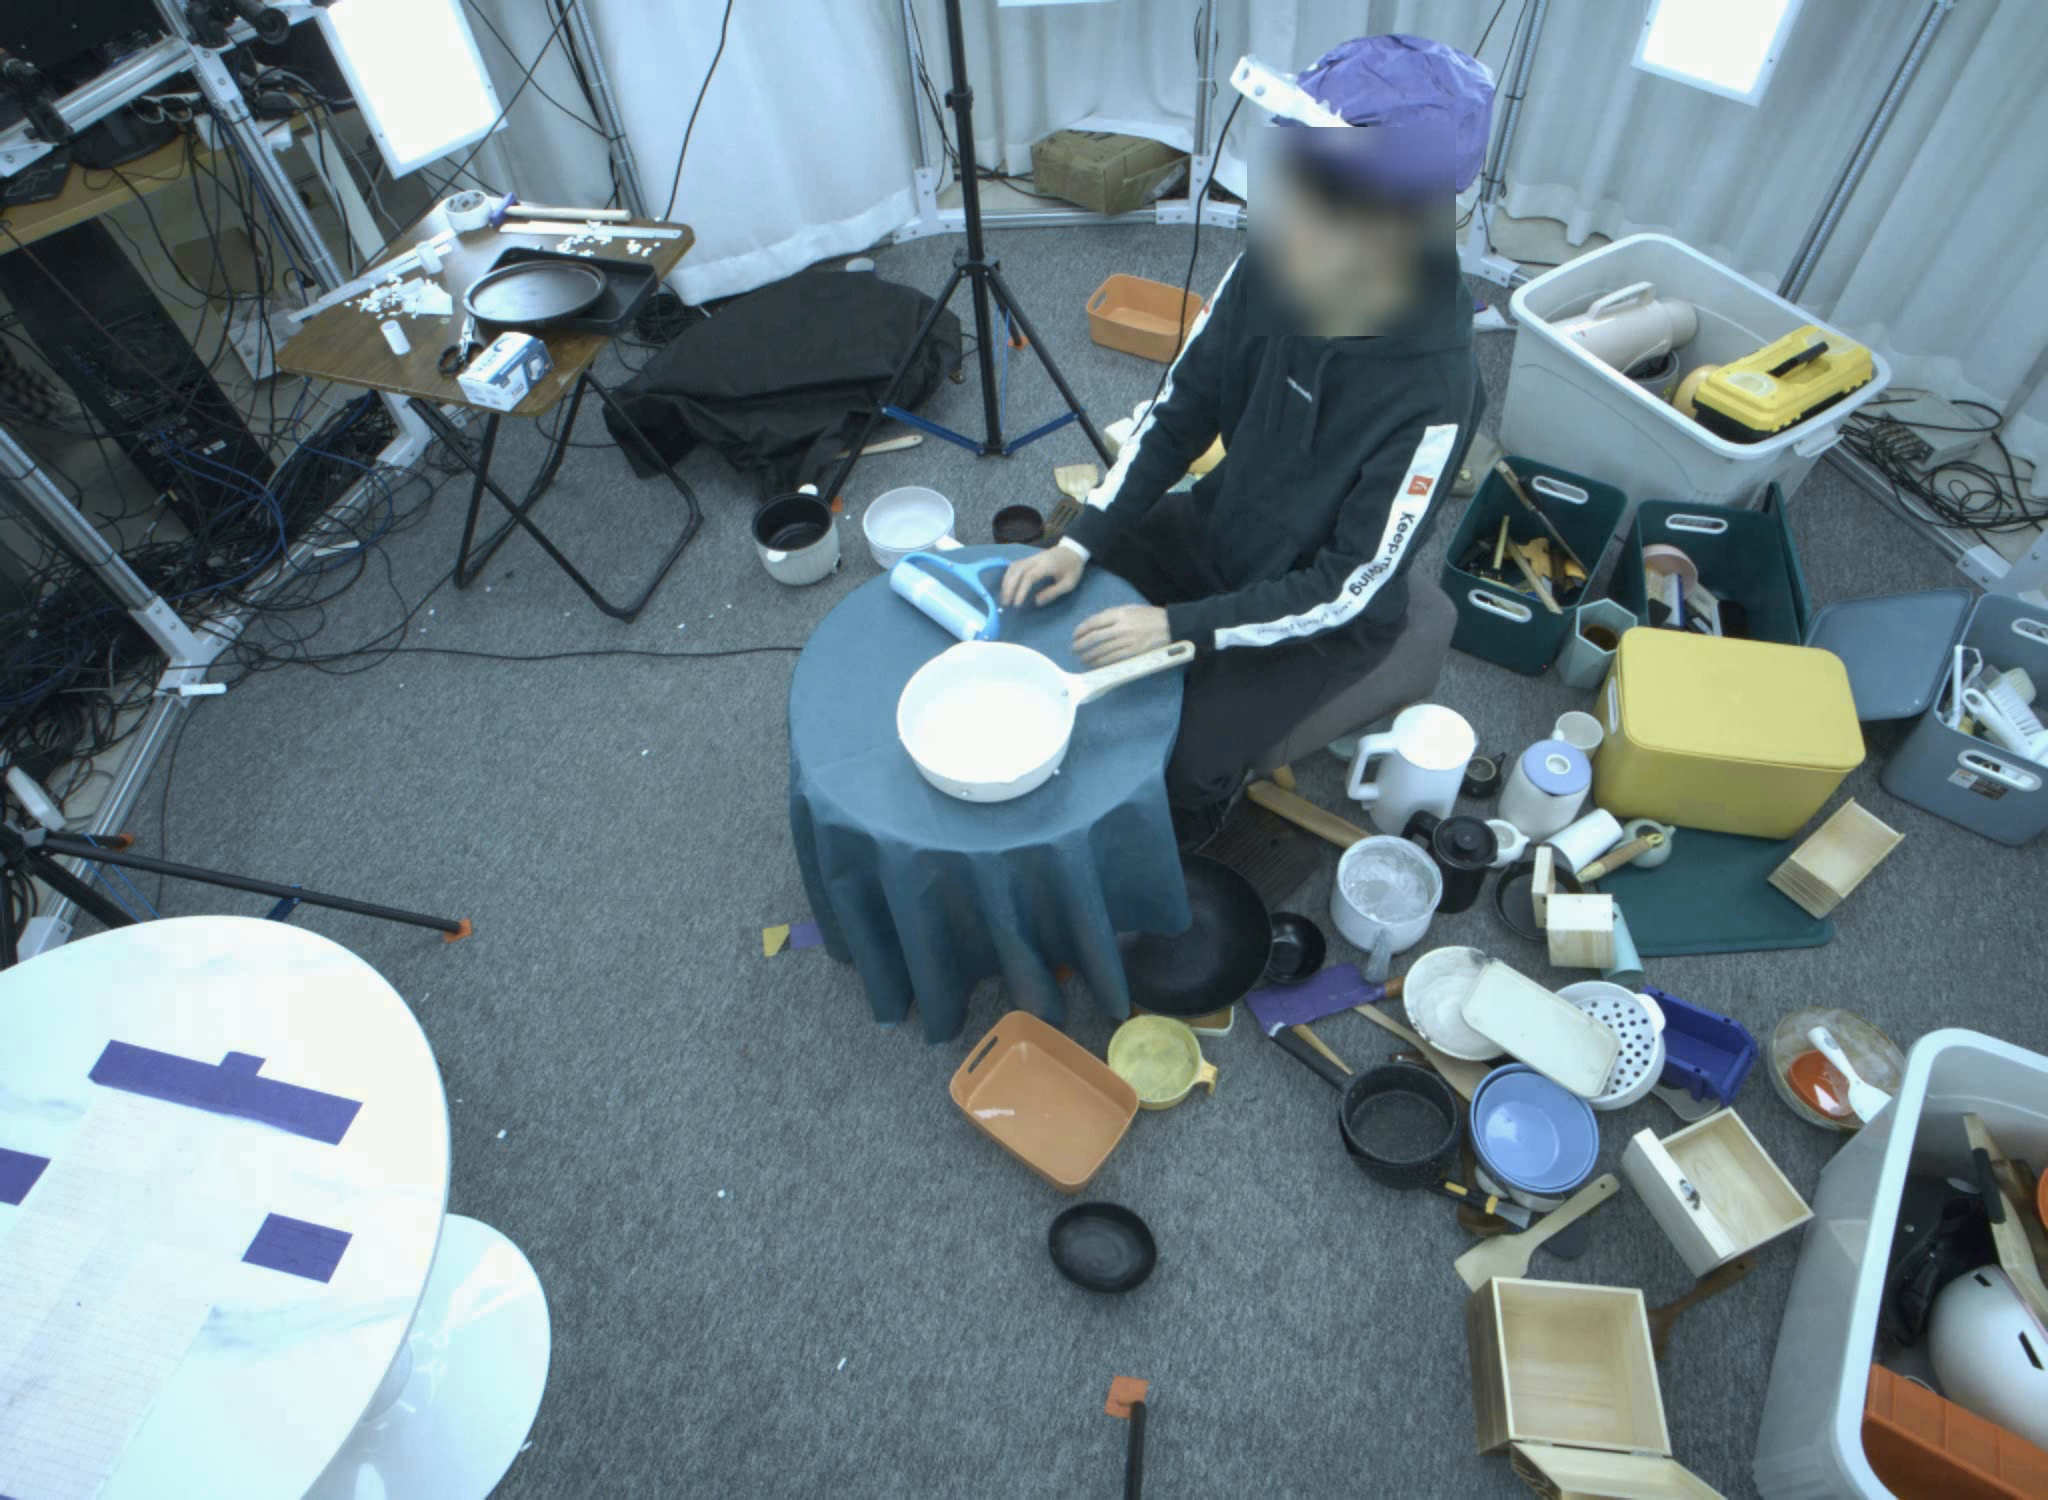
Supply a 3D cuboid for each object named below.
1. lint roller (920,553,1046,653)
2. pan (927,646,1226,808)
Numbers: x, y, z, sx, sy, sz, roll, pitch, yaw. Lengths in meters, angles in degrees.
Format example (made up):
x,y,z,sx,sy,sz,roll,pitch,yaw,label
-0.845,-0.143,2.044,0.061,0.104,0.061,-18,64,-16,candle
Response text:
x,y,z,sx,sy,sz,roll,pitch,yaw,label
-0.039,-0.260,1.934,0.224,0.069,0.181,37,64,26,lint roller
0.080,-0.053,1.756,0.437,0.103,0.259,-14,54,-8,pan
